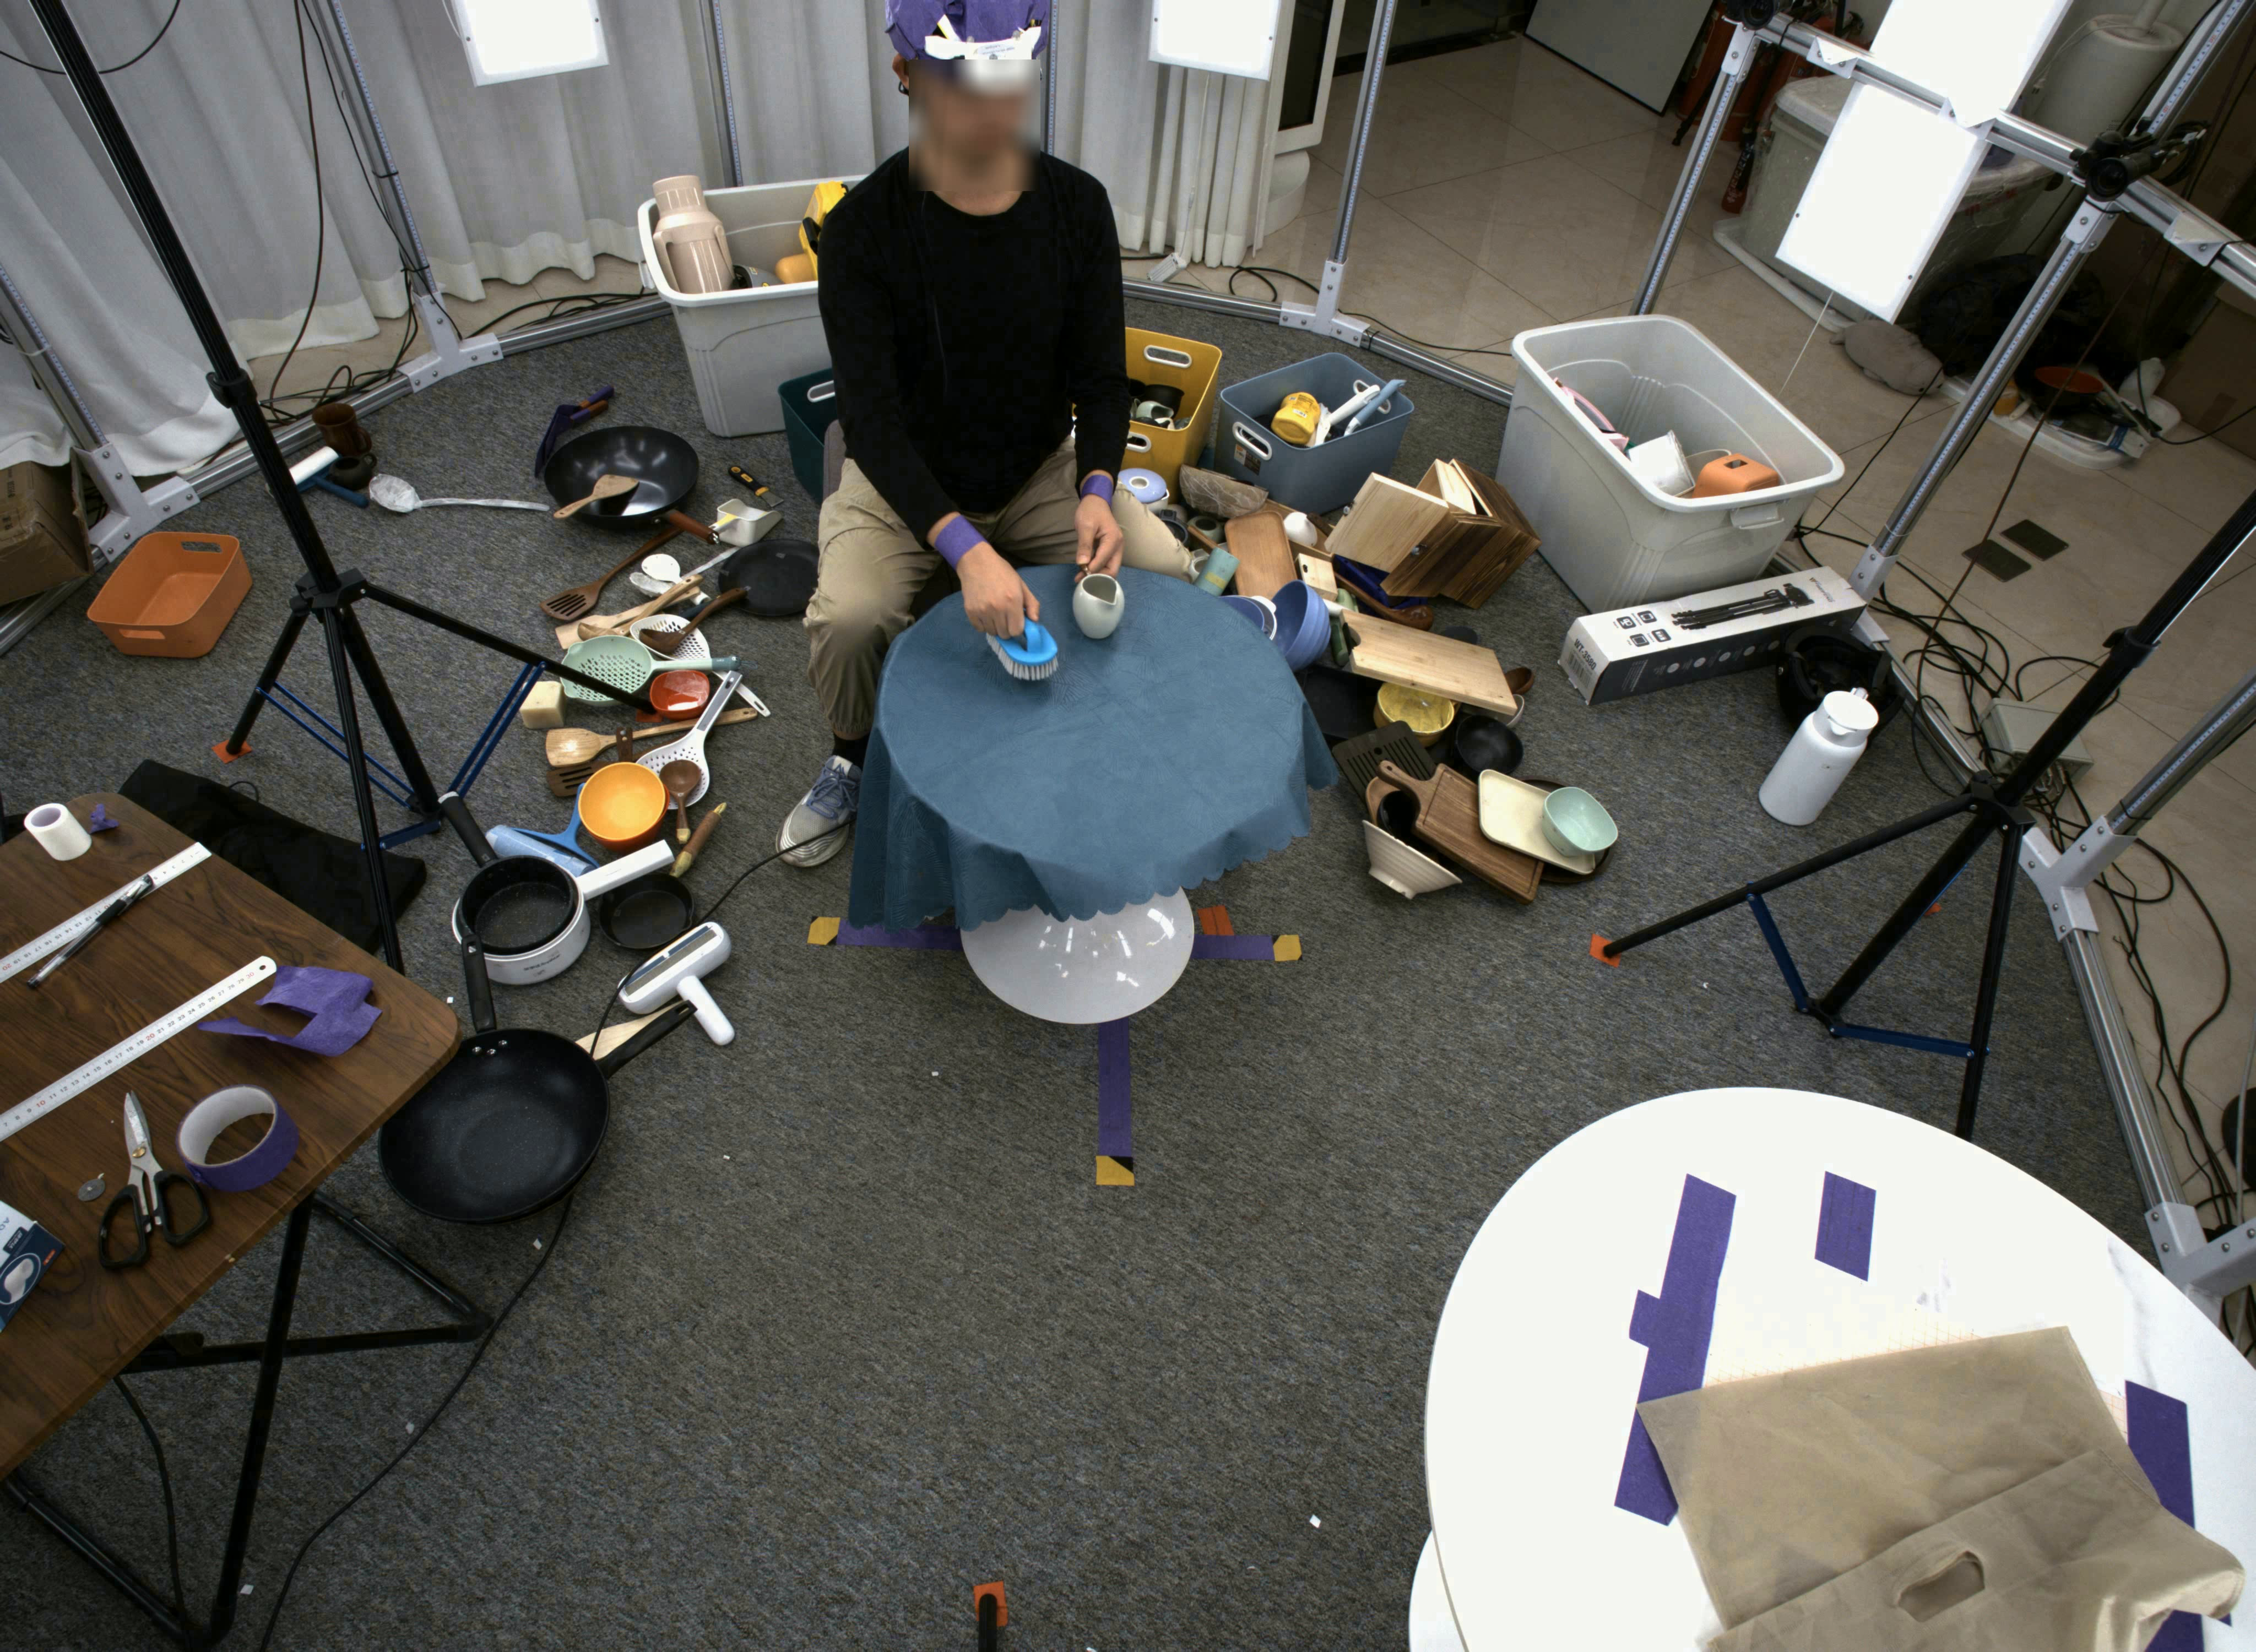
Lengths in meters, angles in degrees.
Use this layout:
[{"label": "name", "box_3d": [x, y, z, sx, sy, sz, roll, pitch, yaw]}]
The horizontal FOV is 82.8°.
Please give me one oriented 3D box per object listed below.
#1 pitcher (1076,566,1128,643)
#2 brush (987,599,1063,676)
[{"label": "pitcher", "box_3d": [-0.042, -0.321, 1.886, 0.076, 0.086, 0.122, -10, 54, -20]}, {"label": "brush", "box_3d": [-0.148, -0.277, 1.817, 0.084, 0.062, 0.145, -18, 47, -17]}]
